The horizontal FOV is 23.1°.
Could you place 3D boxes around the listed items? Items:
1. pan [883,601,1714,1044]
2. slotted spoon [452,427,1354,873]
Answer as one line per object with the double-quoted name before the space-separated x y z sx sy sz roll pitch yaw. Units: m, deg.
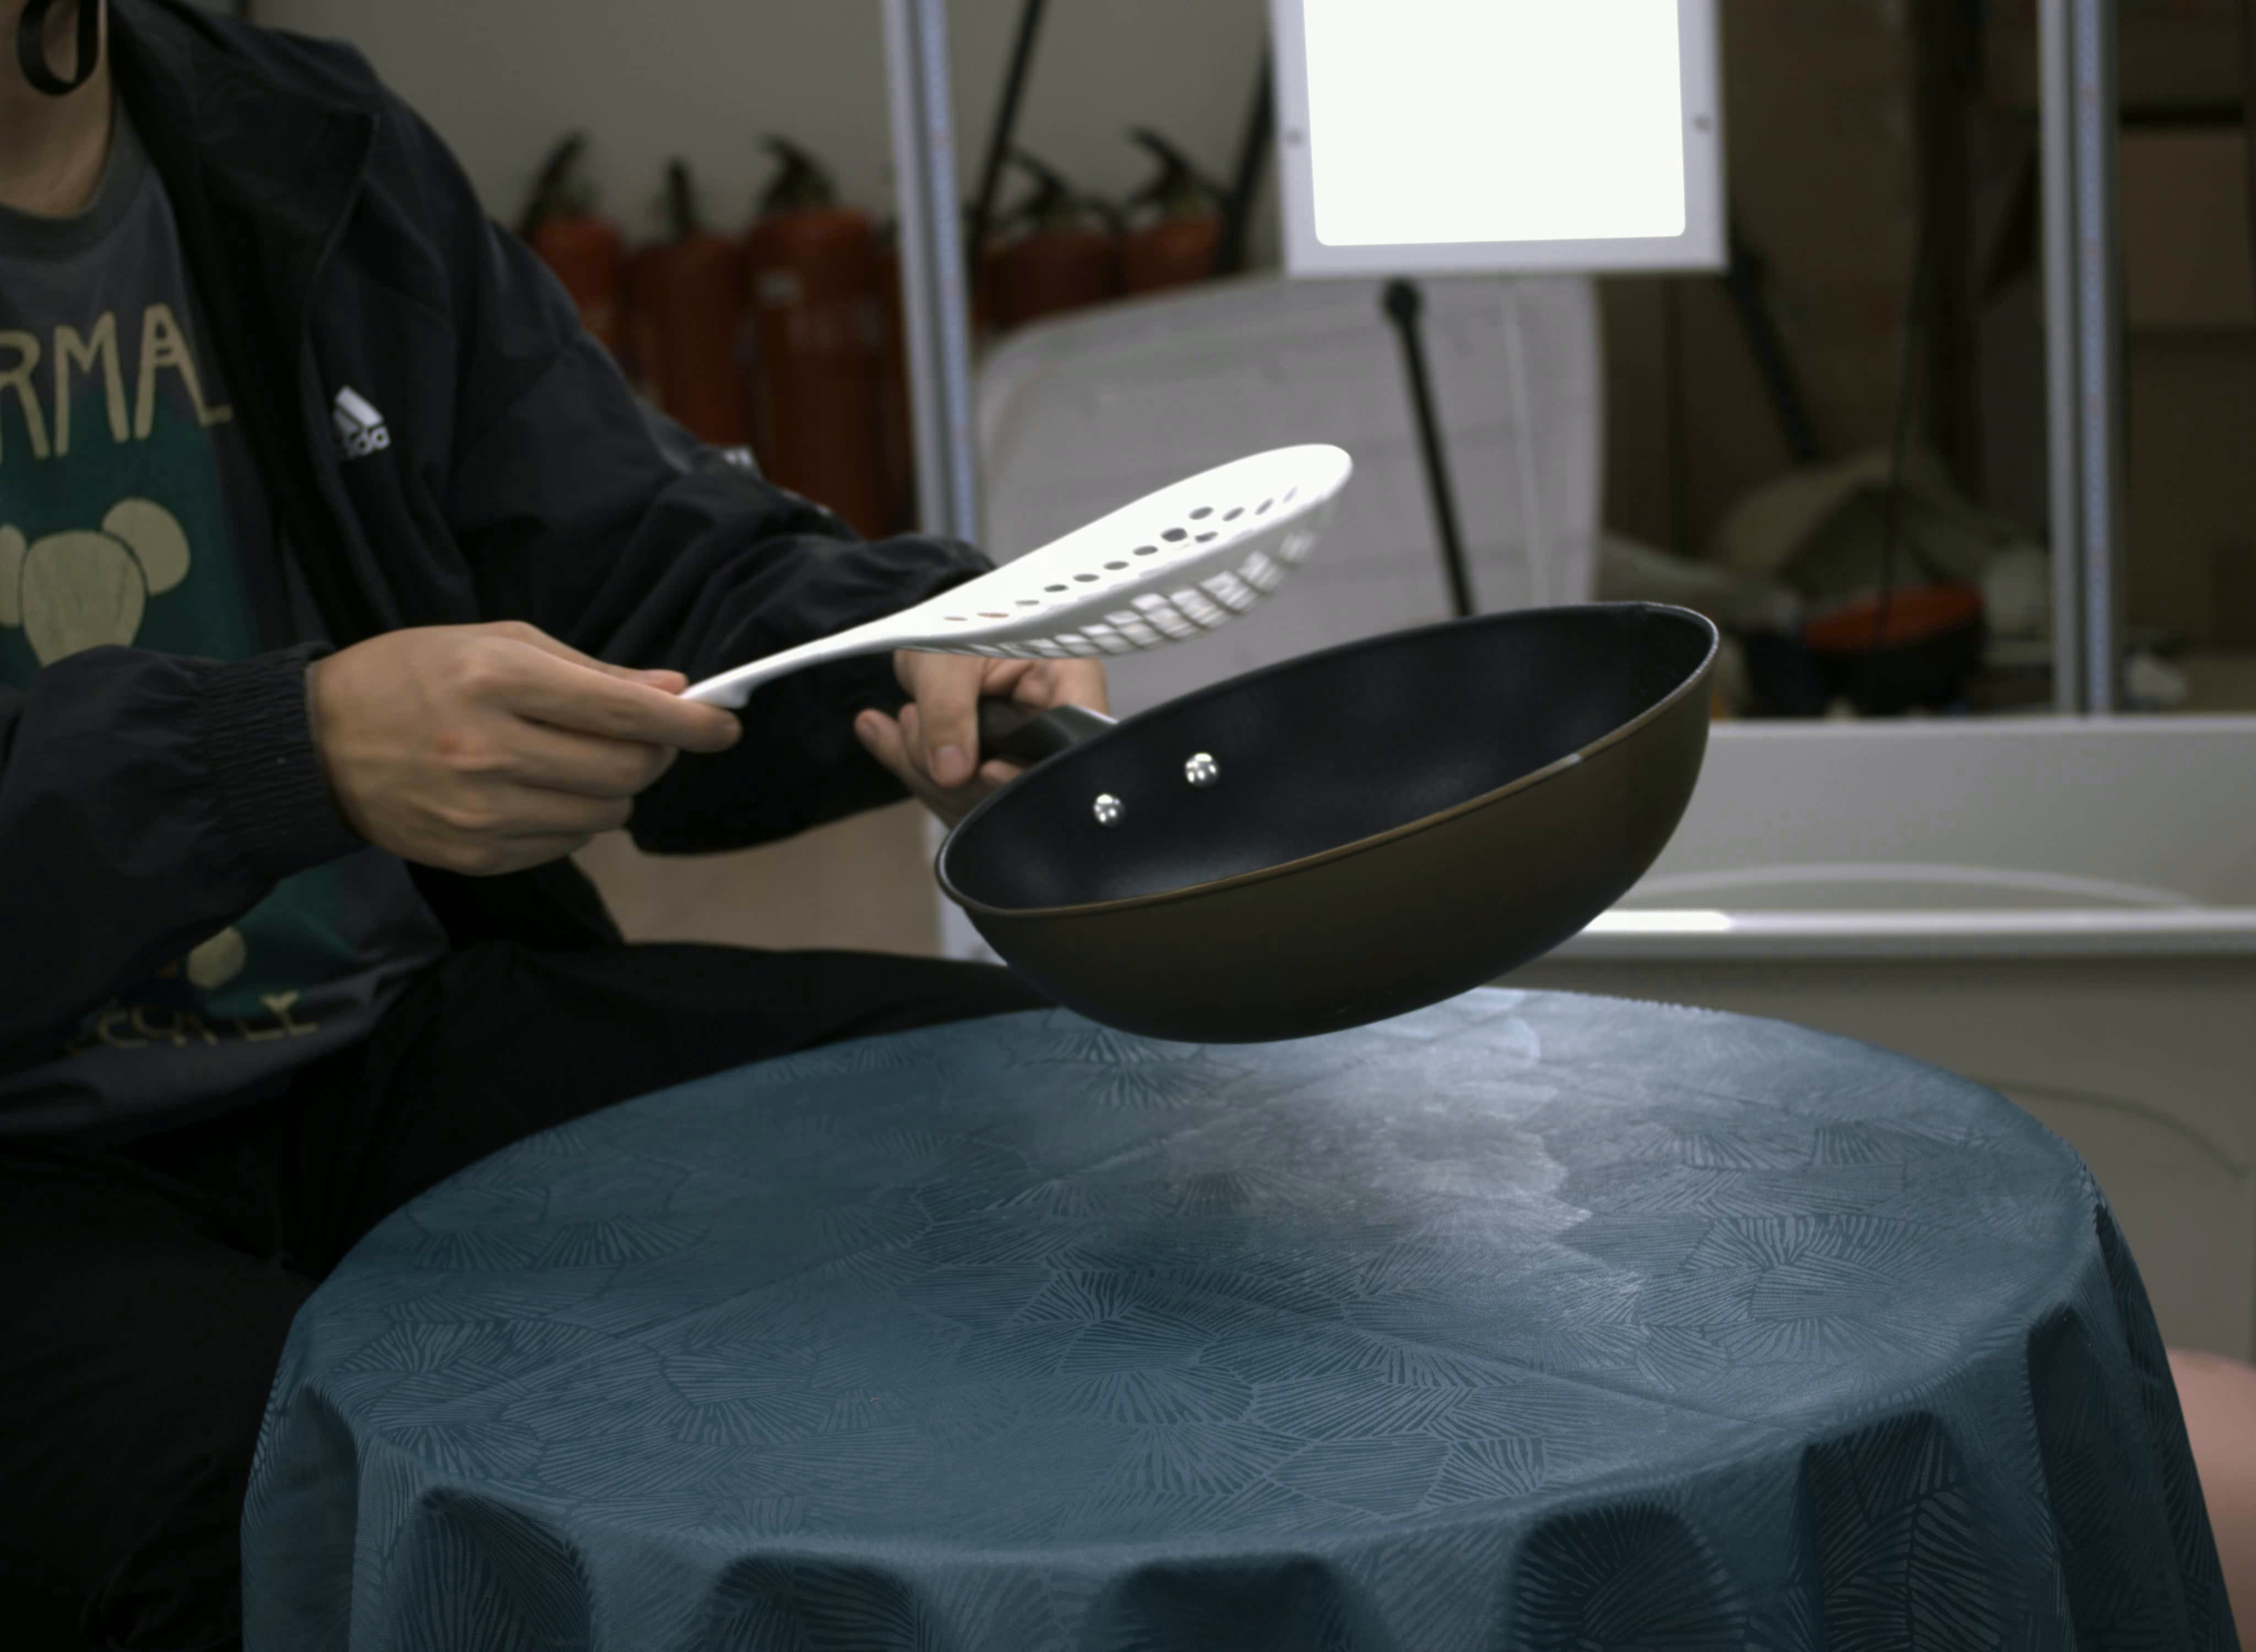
"pan" 0.030 0.002 1.965 0.282 0.087 0.472 -25 14 -26
"slotted spoon" -0.080 -0.056 1.889 0.351 0.050 0.135 -16 16 15
